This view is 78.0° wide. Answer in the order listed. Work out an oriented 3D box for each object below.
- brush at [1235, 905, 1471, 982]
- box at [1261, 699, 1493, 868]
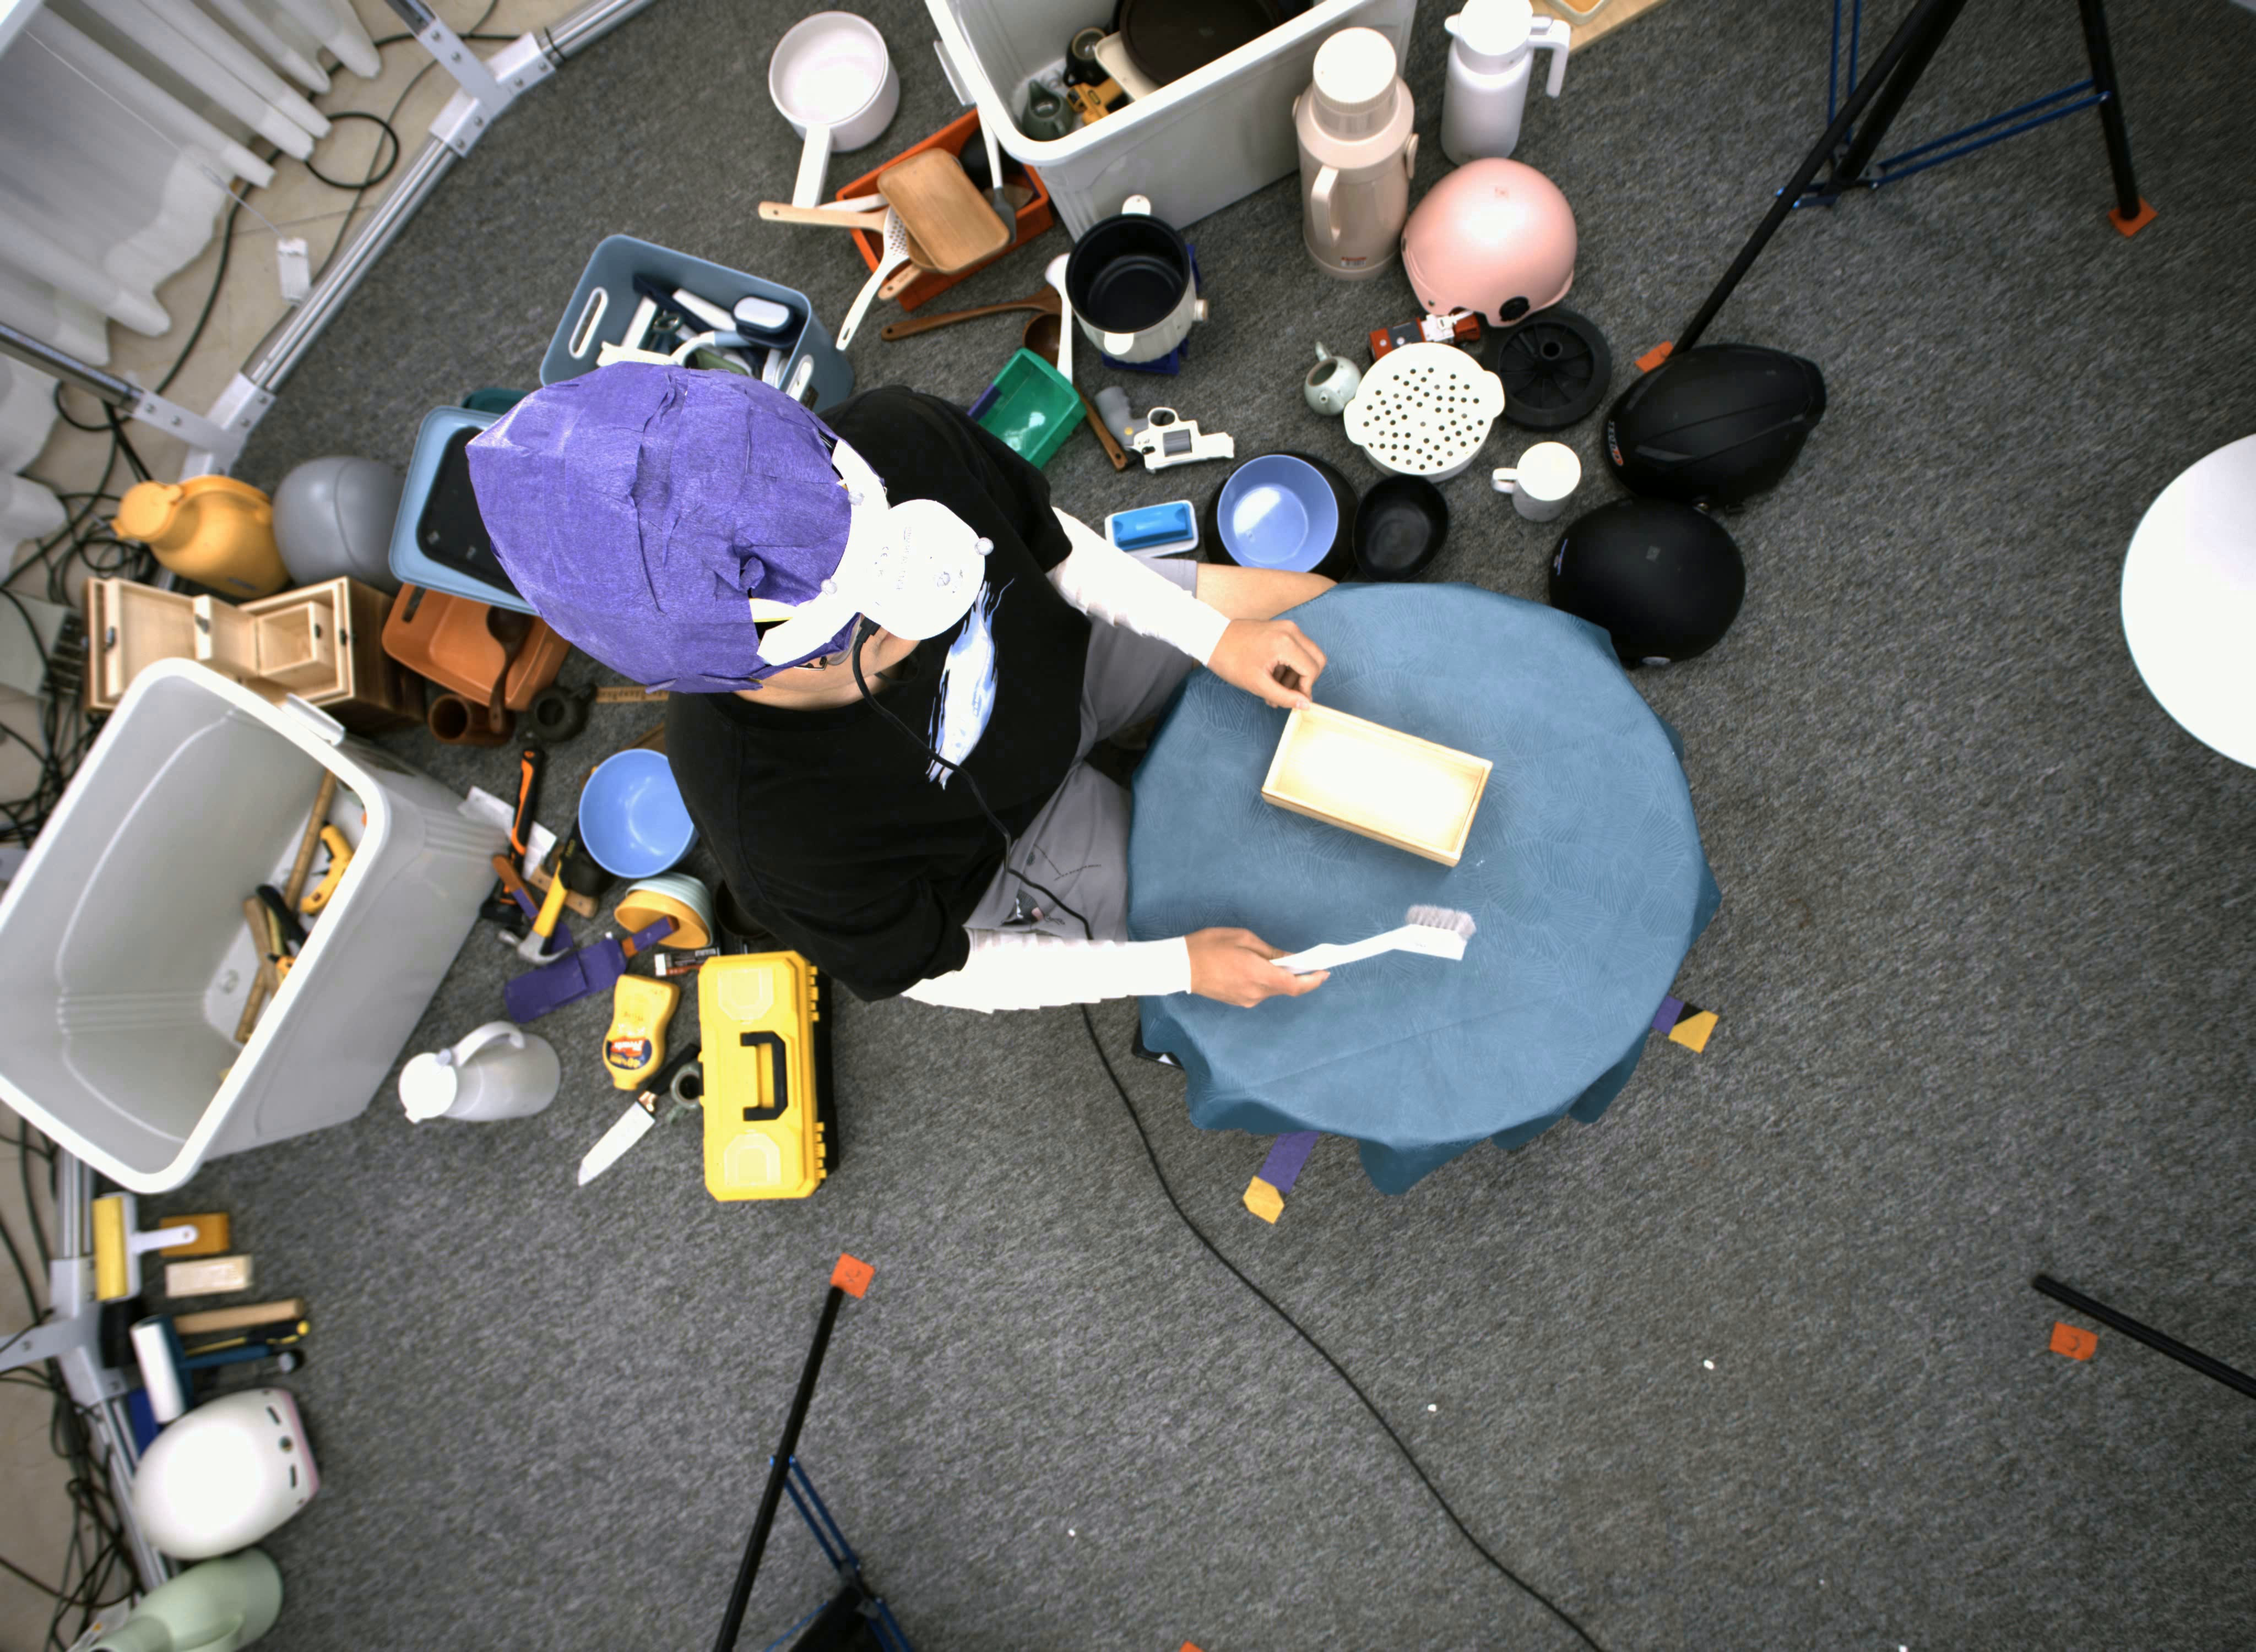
[{"bbox_3d":[0.220,0.115,1.379,0.246,0.035,0.049,-12,51,29],"label":"brush"},{"bbox_3d":[0.258,-0.045,1.427,0.211,0.080,0.107,19,90,12],"label":"box"}]
